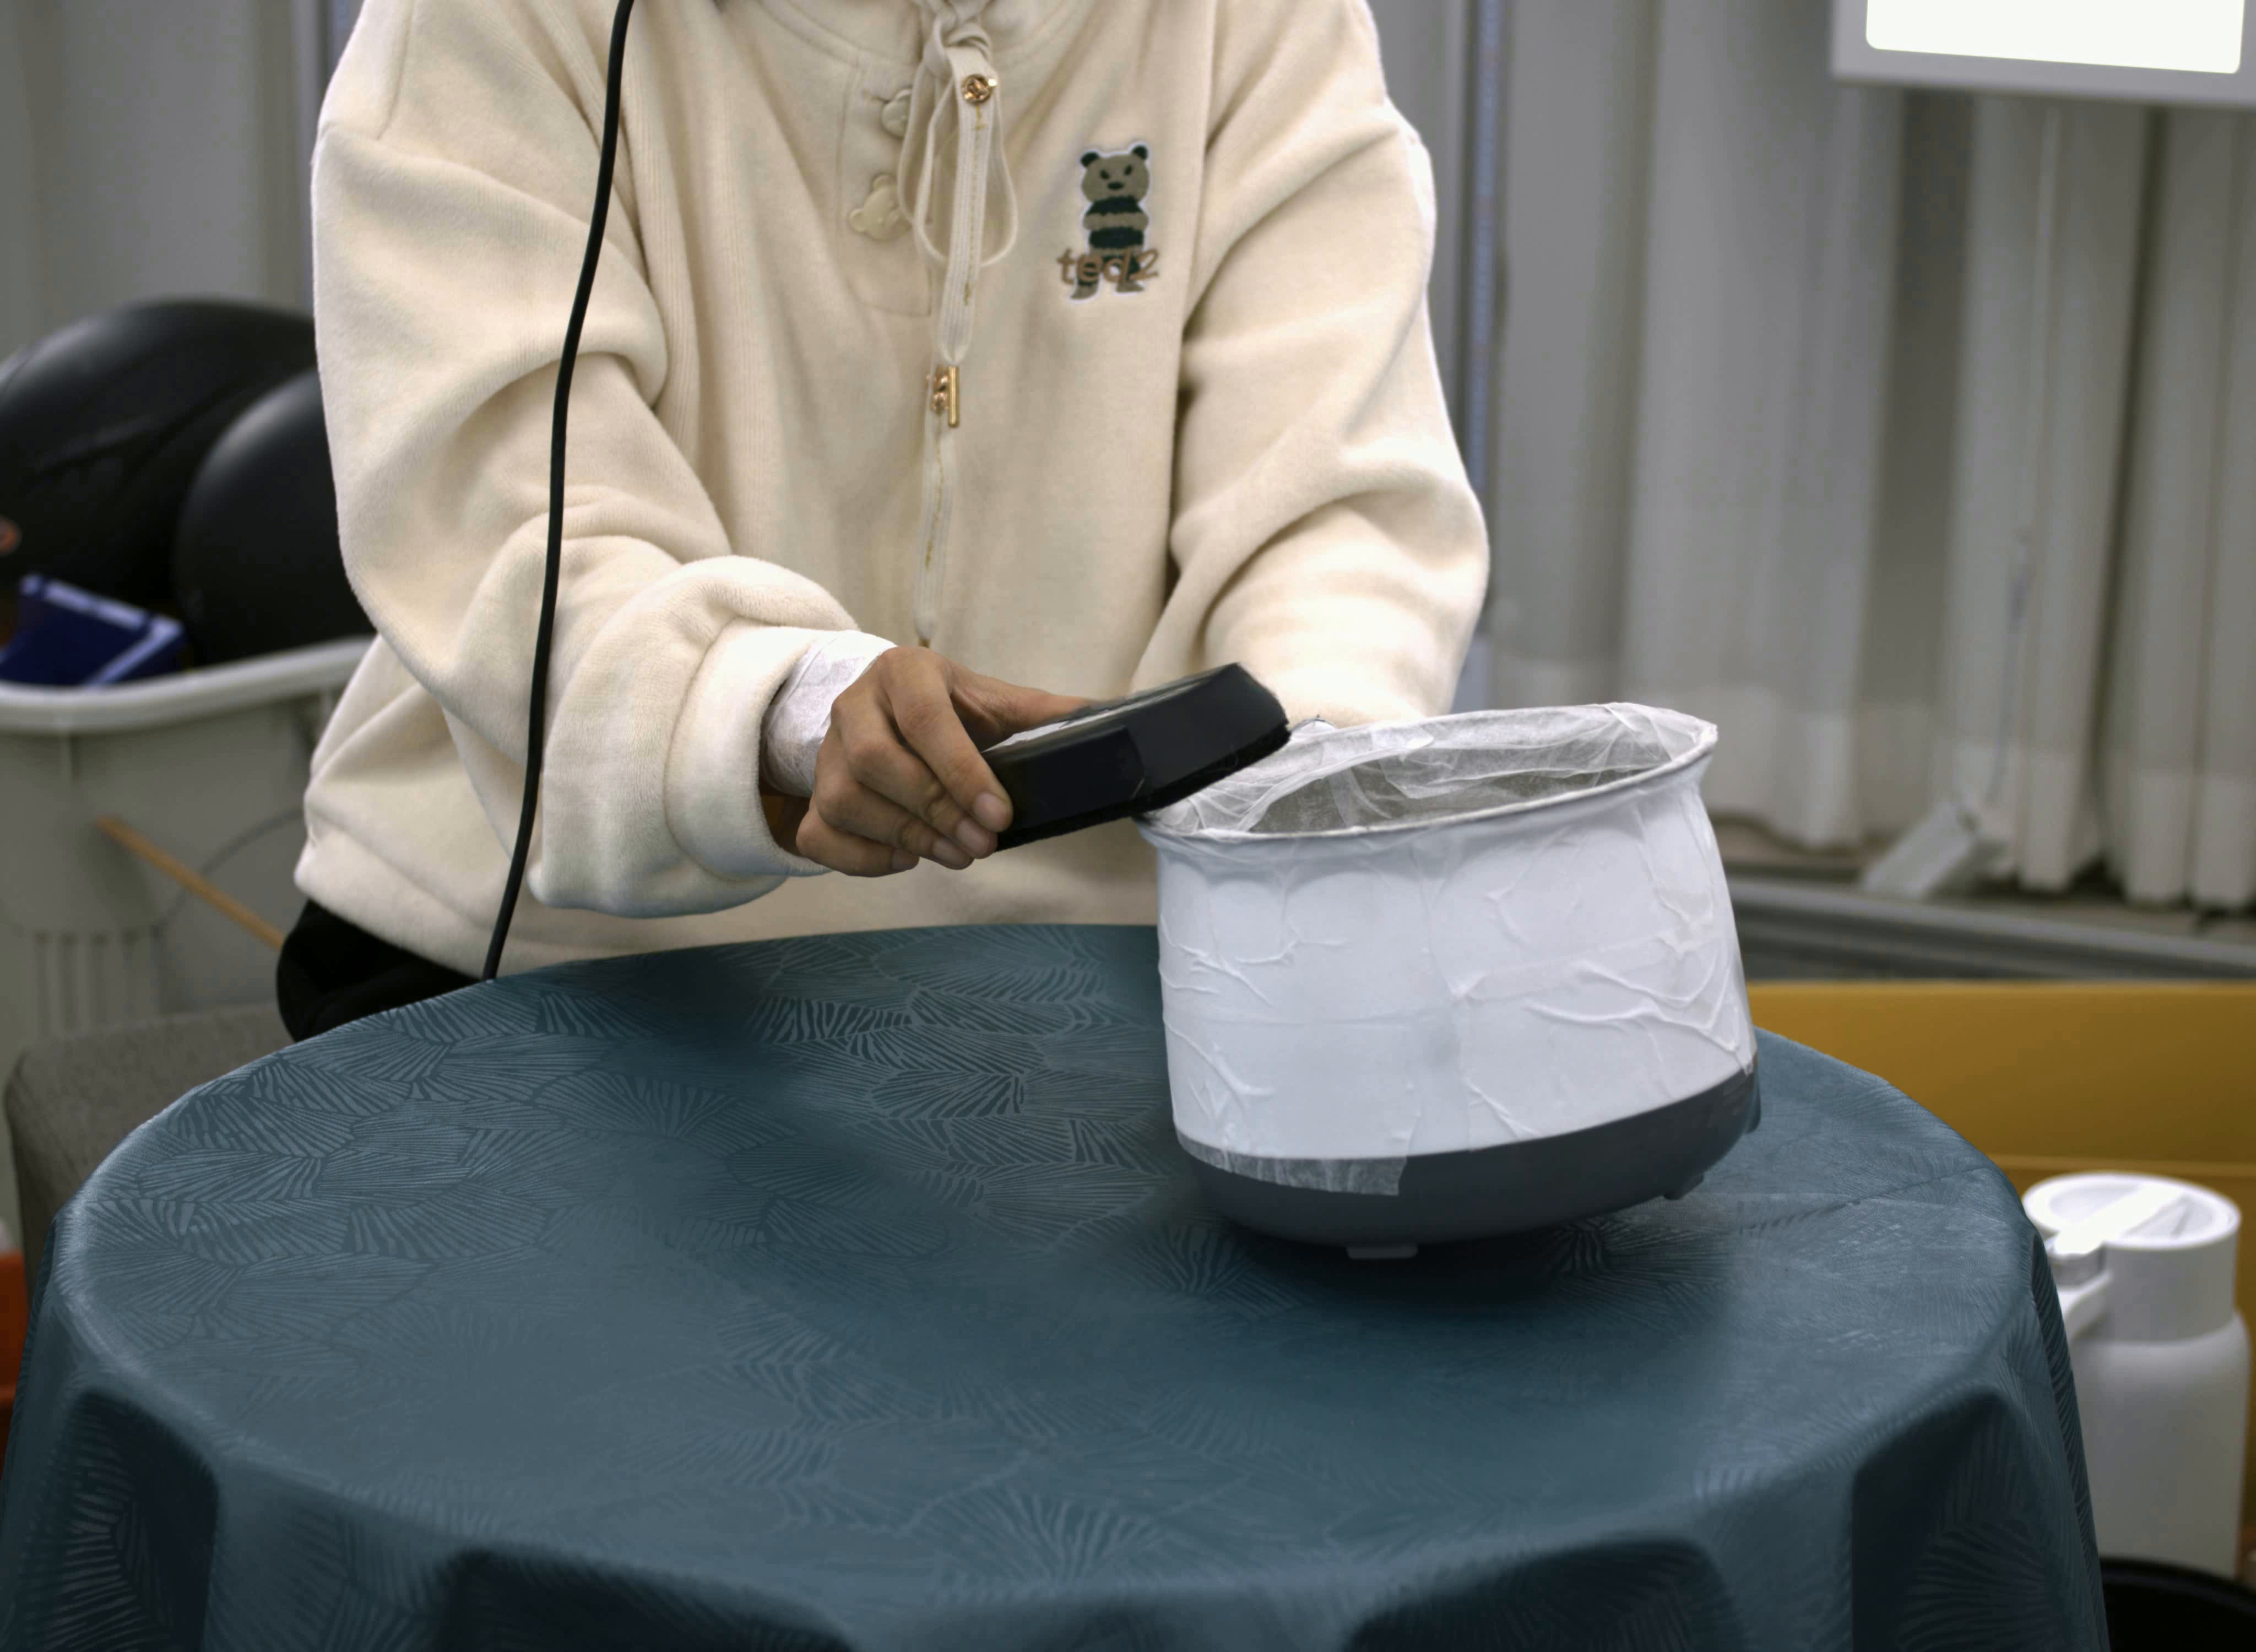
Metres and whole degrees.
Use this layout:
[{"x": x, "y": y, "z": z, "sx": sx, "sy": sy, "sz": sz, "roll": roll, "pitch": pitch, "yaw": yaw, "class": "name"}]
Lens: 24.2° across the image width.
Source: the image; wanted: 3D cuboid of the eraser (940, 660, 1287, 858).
[{"x": -0.005, "y": -0.020, "z": 1.578, "sx": 0.053, "sy": 0.030, "sz": 0.125, "roll": -26, "pitch": 5, "yaw": -30, "class": "eraser"}]

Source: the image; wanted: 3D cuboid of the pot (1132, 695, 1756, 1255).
[{"x": 0.086, "y": 0.039, "z": 1.598, "sx": 0.179, "sy": 0.137, "sz": 0.231, "roll": -11, "pitch": 12, "yaw": -18, "class": "pot"}]
